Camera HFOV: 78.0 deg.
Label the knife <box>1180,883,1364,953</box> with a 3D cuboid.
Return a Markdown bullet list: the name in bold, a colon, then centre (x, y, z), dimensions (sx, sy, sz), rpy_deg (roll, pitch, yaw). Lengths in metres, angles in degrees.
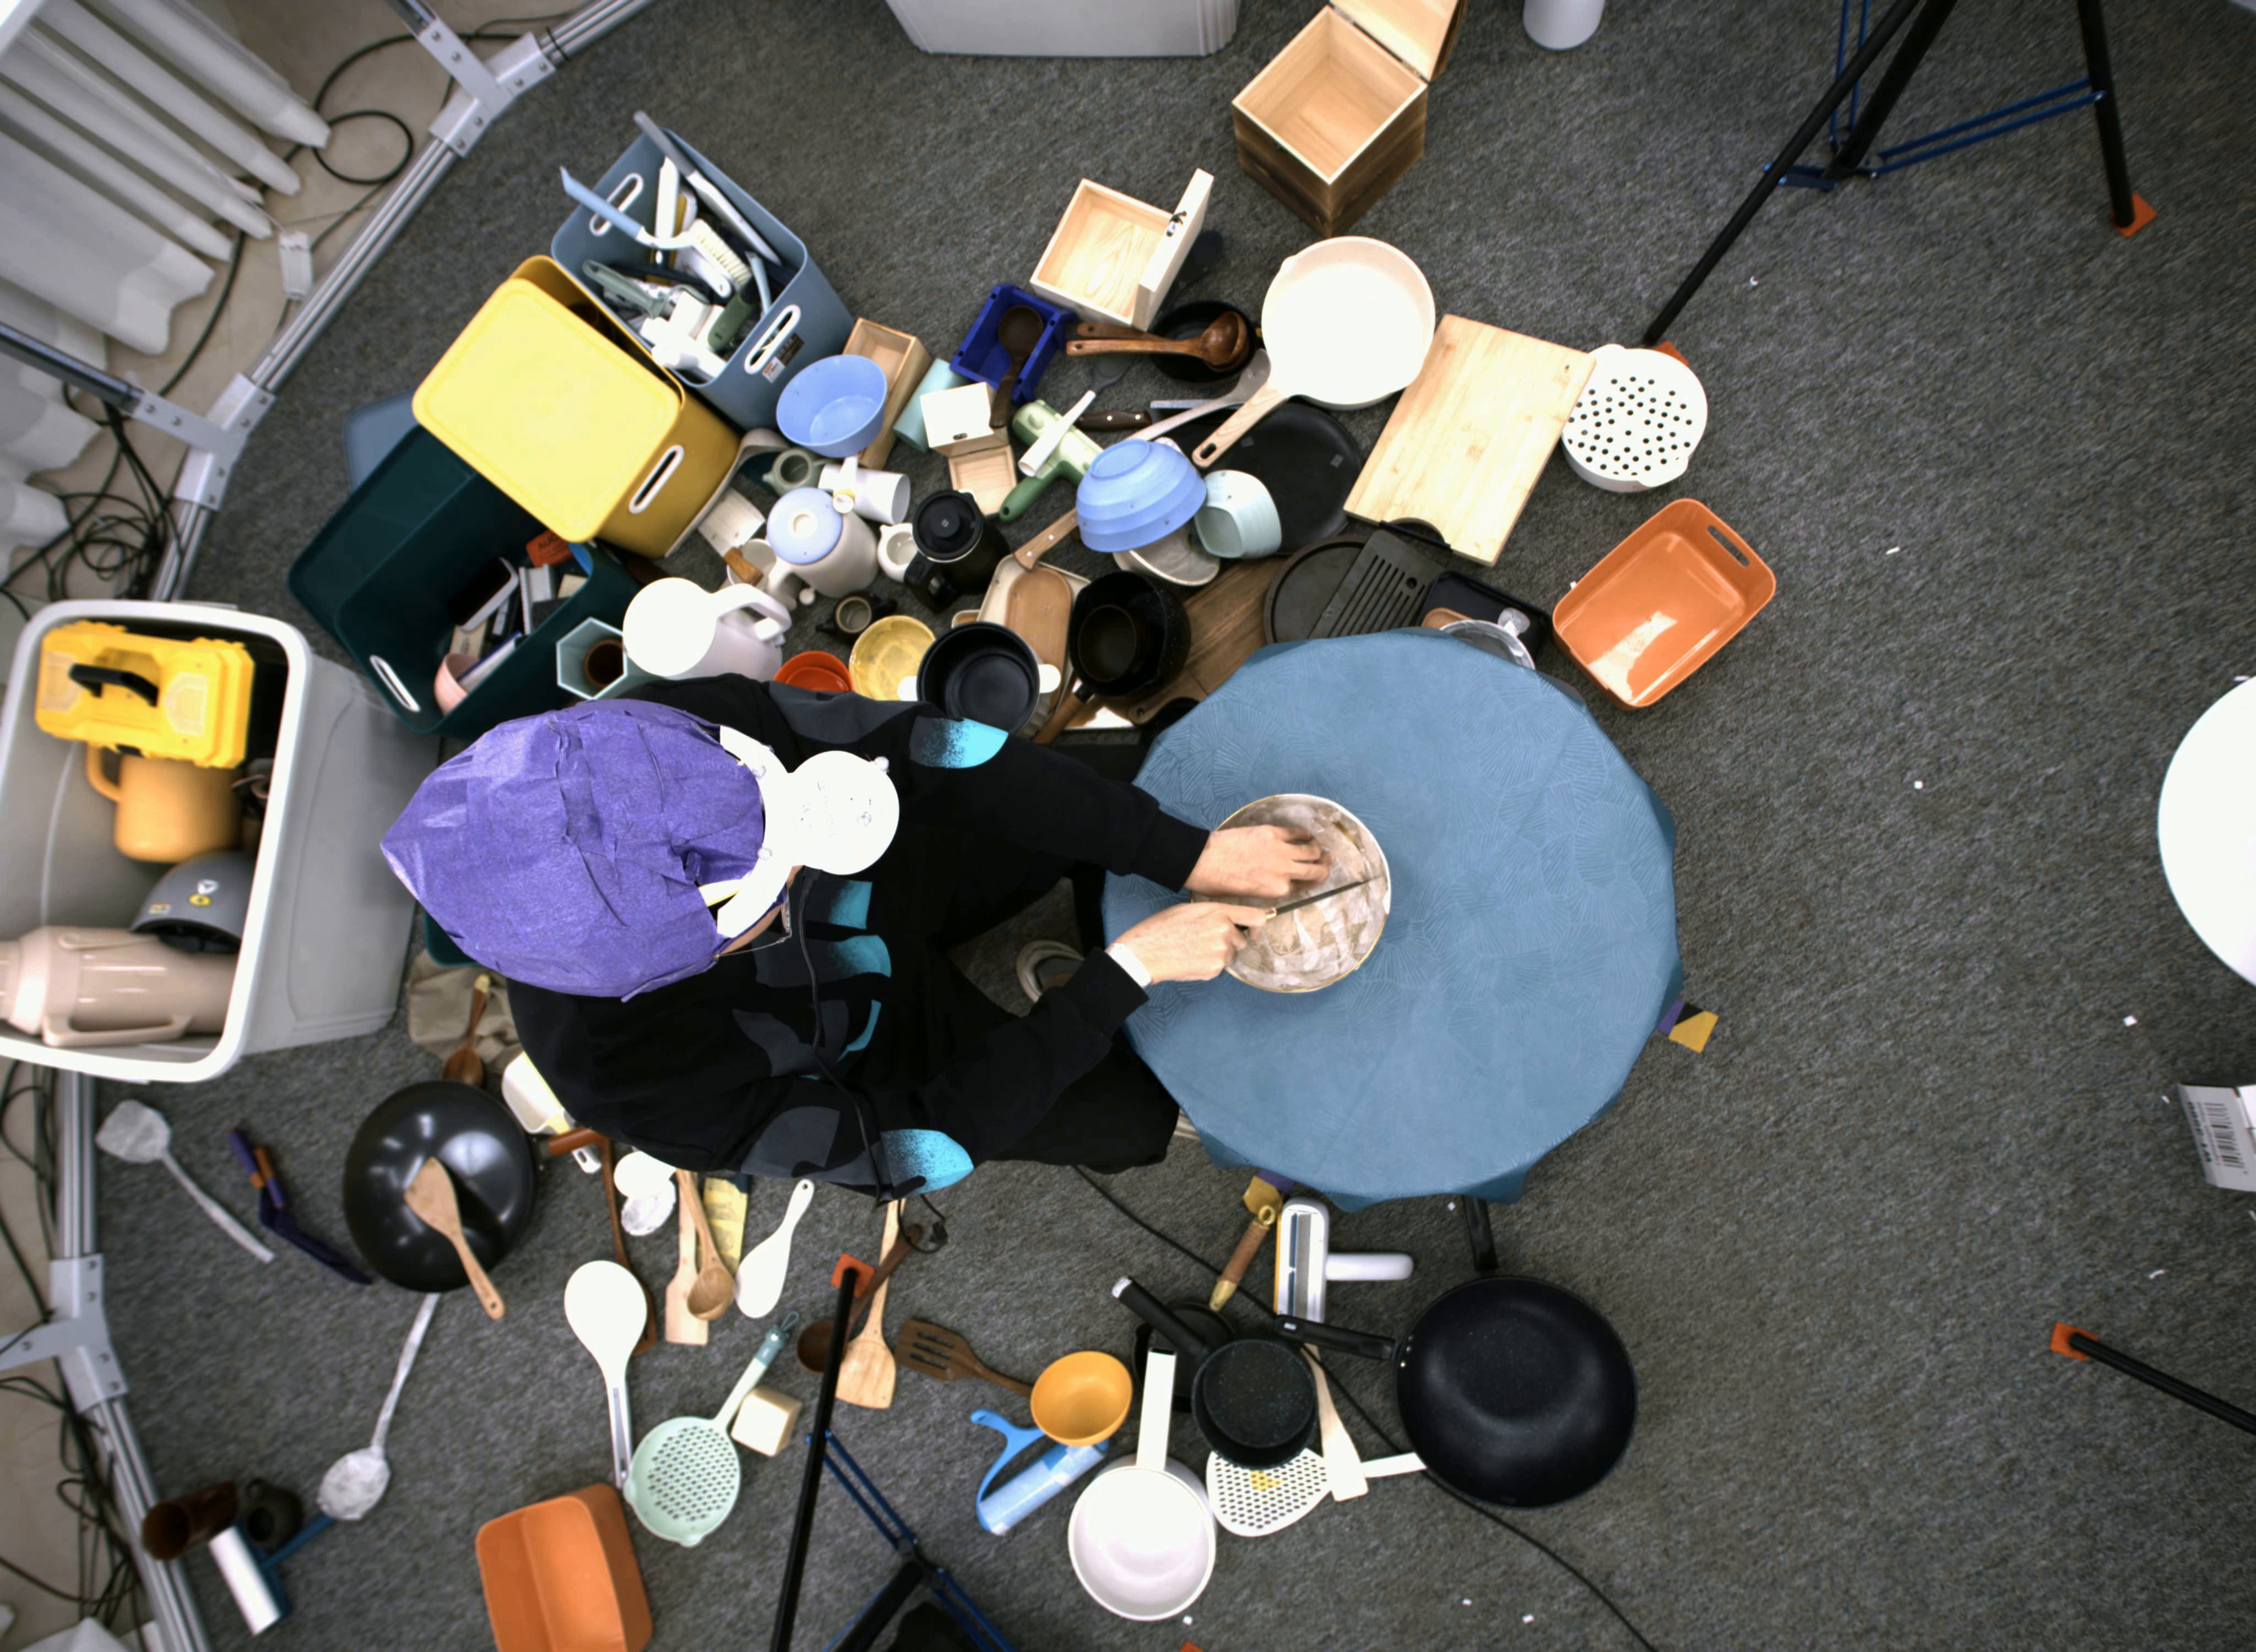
- **knife**: centre (0.149, 0.088, 1.402), dimensions (0.223, 0.027, 0.017), rpy_deg (-17, 70, -22)

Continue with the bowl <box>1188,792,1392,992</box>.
- **bowl**: centre (0.165, 0.070, 1.430), dimensions (0.215, 0.094, 0.214), rpy_deg (-1, 87, 9)
